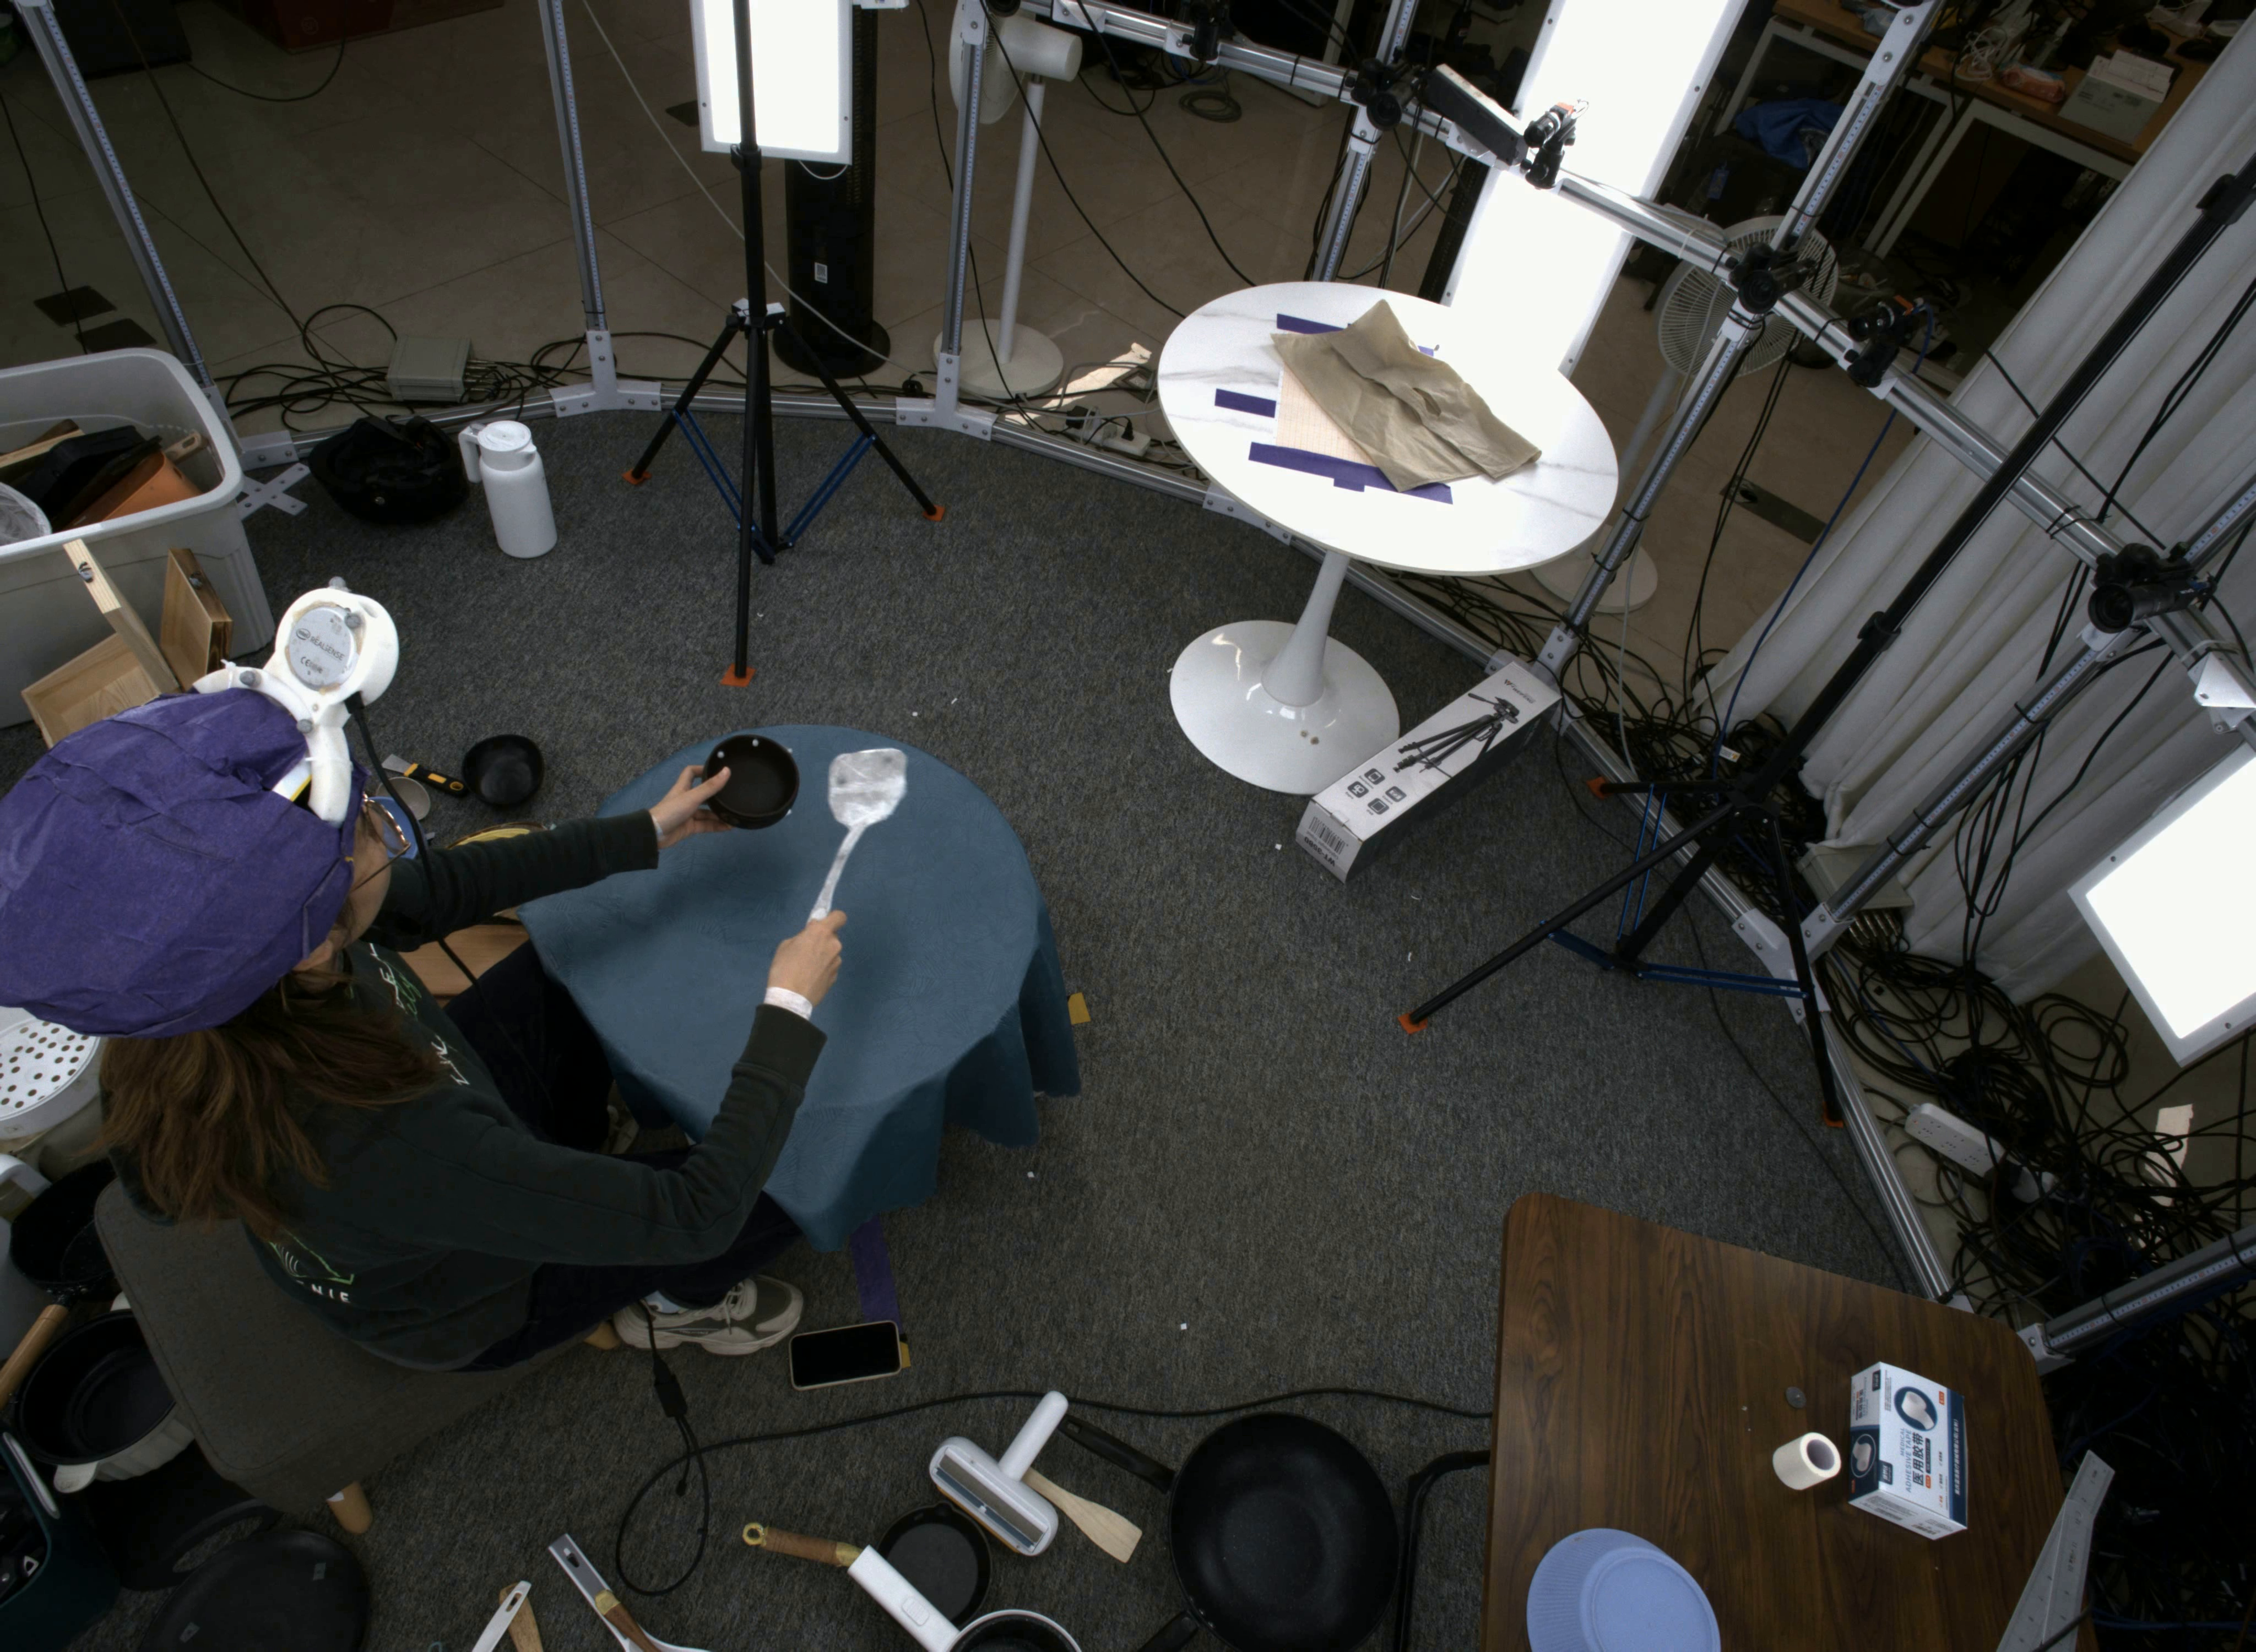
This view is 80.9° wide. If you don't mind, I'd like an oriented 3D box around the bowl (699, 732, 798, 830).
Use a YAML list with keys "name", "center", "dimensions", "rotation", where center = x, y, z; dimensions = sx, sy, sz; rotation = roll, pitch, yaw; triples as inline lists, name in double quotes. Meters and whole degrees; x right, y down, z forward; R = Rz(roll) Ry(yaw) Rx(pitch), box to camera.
- name: "bowl"
  center: [-0.472, -0.050, 1.601]
  dimensions: [0.119, 0.070, 0.117]
  rotation: [10, 63, -19]

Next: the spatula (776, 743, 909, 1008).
- name: "spatula"
  center: [-0.326, 0.042, 1.434]
  dimensions: [0.096, 0.046, 0.359]
  rotation: [0, 44, 12]
